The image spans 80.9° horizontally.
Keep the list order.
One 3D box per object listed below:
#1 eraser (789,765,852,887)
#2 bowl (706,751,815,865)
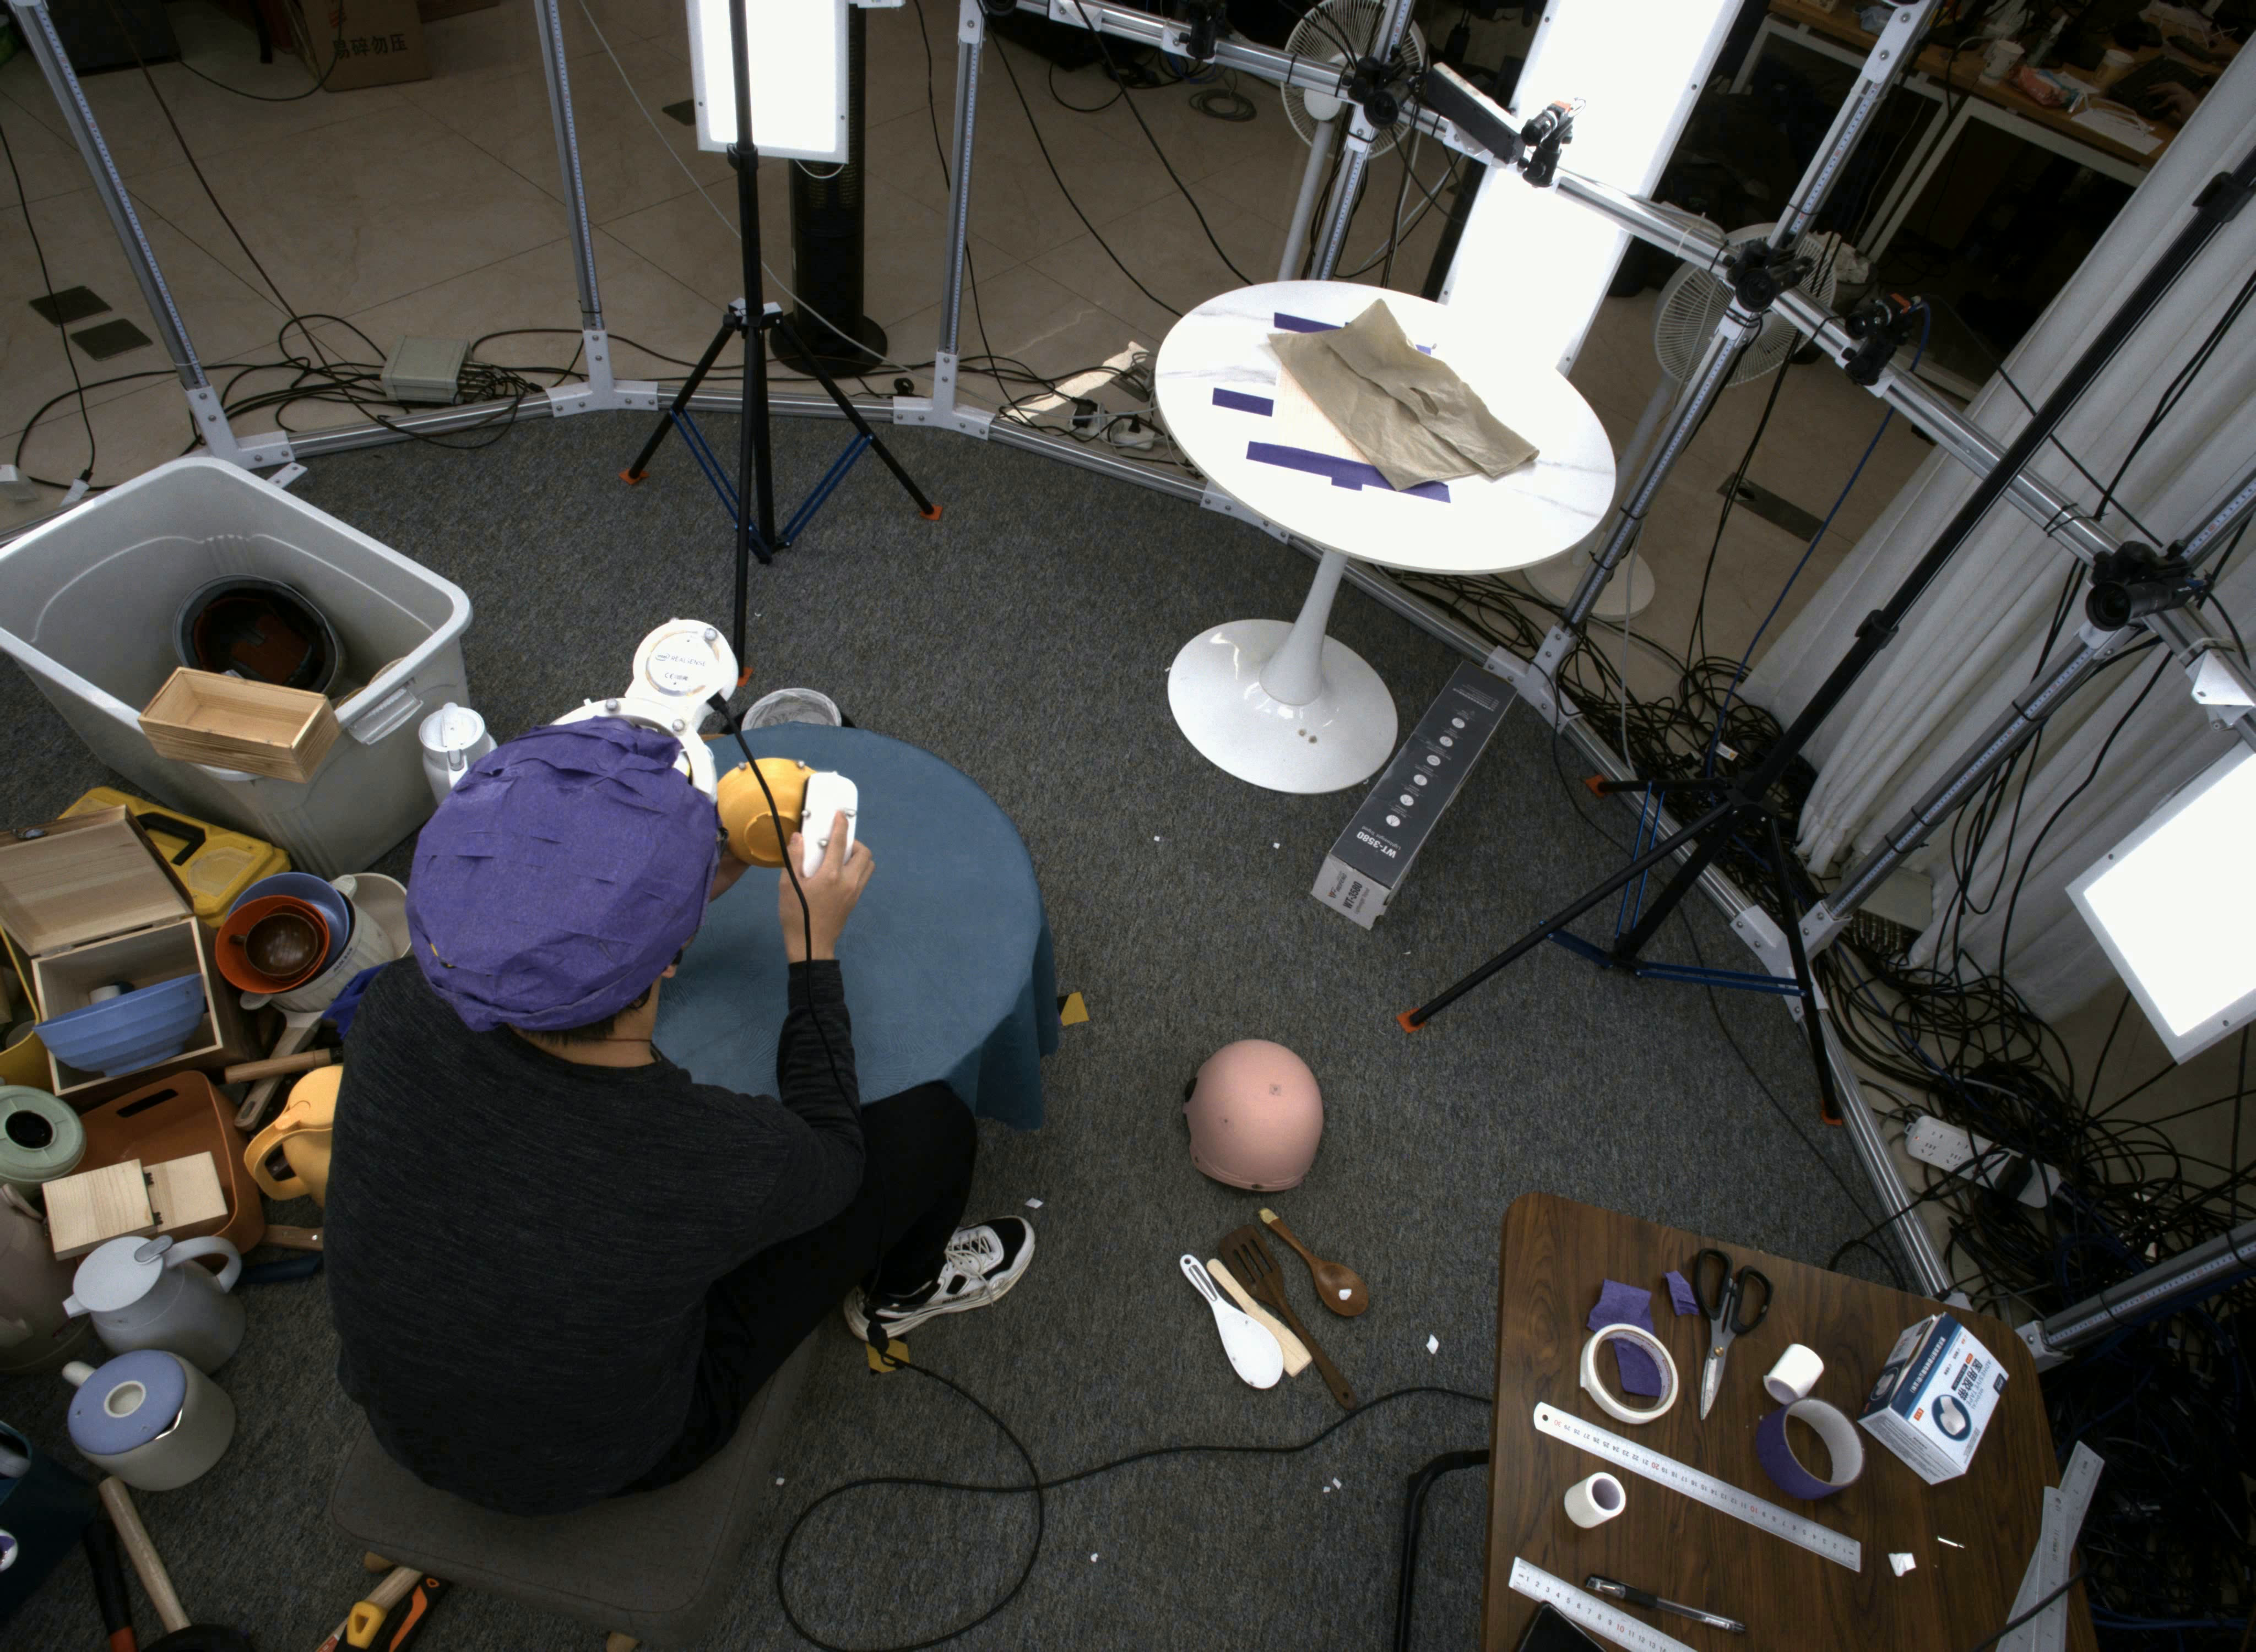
[{"bbox_3d":[-0.344,0.000,1.451,0.065,0.033,0.131,20,65,-47],"label":"eraser"},{"bbox_3d":[-0.407,-0.008,1.475,0.146,0.149,0.058,-5,36,-17],"label":"bowl"}]
